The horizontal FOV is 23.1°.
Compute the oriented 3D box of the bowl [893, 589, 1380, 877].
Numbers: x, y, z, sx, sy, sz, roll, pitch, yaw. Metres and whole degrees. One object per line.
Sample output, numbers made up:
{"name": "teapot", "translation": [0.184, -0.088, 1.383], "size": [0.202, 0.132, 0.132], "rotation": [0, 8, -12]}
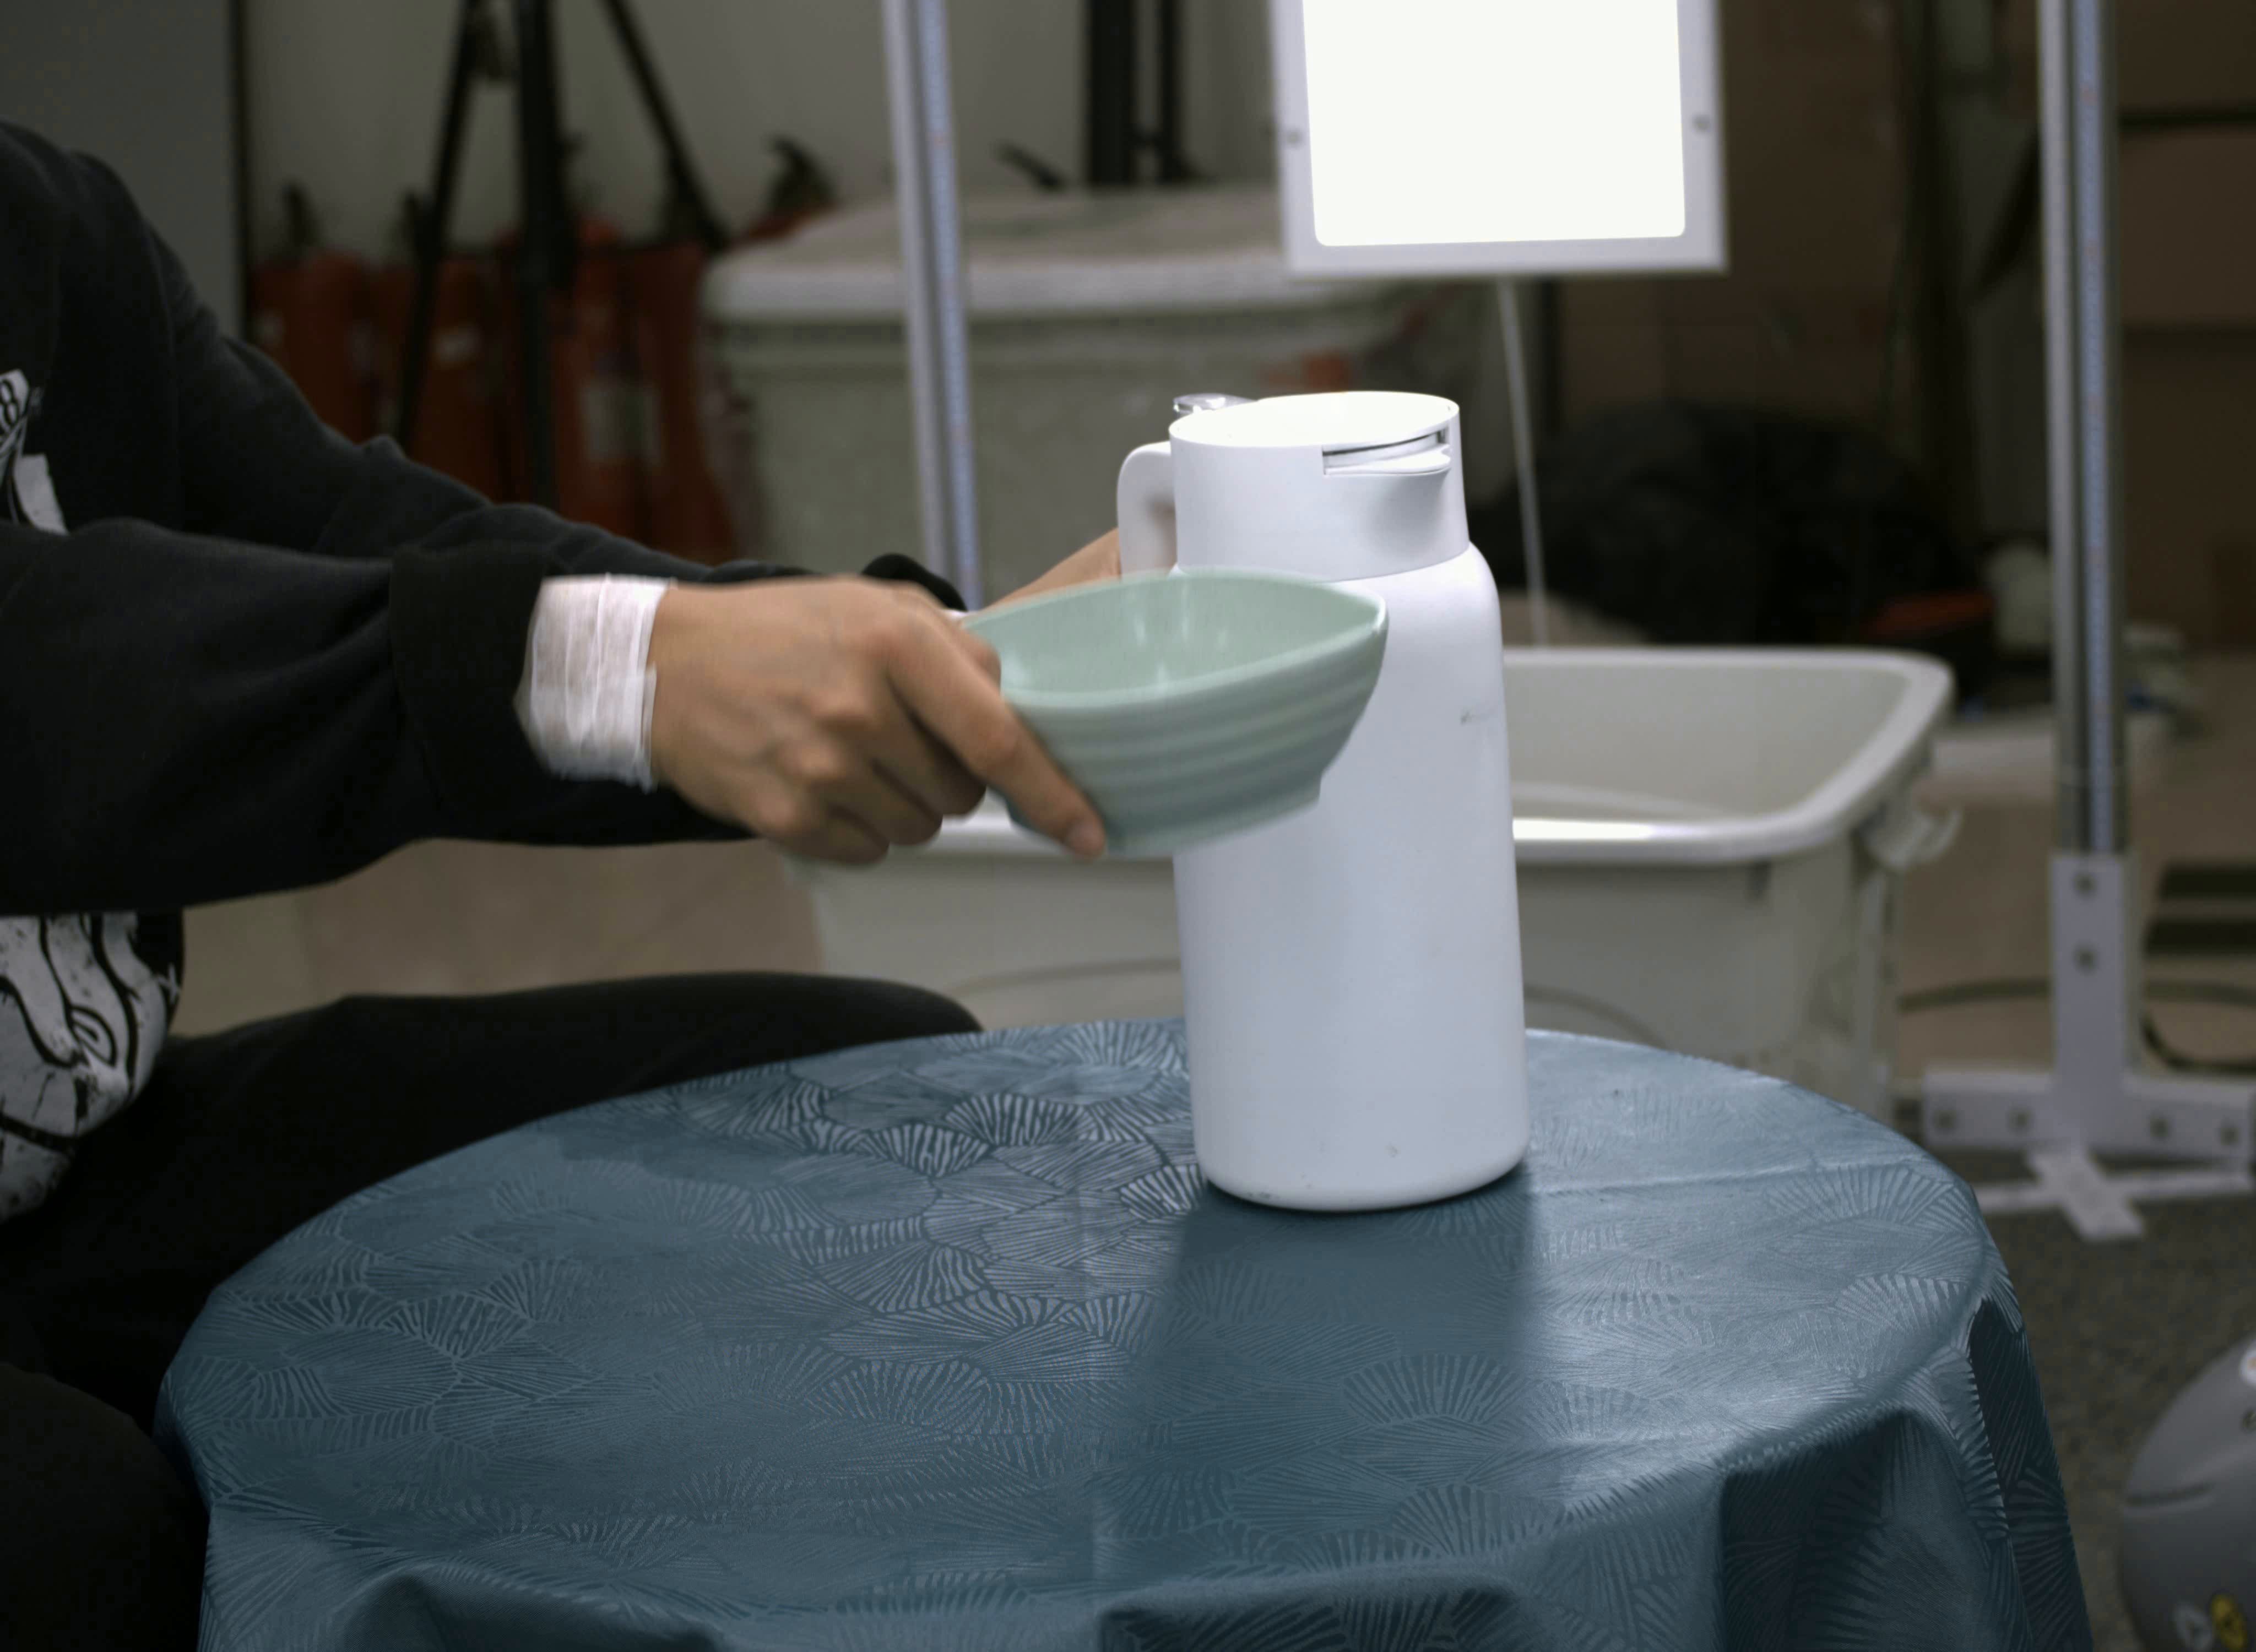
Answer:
{"name": "bowl", "translation": [0.005, -0.026, 1.685], "size": [0.151, 0.059, 0.151], "rotation": [-7, 16, 1]}

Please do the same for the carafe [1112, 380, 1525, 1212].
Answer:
{"name": "carafe", "translation": [0.060, -0.013, 1.883], "size": [0.121, 0.270, 0.176], "rotation": [-16, 18, -32]}
